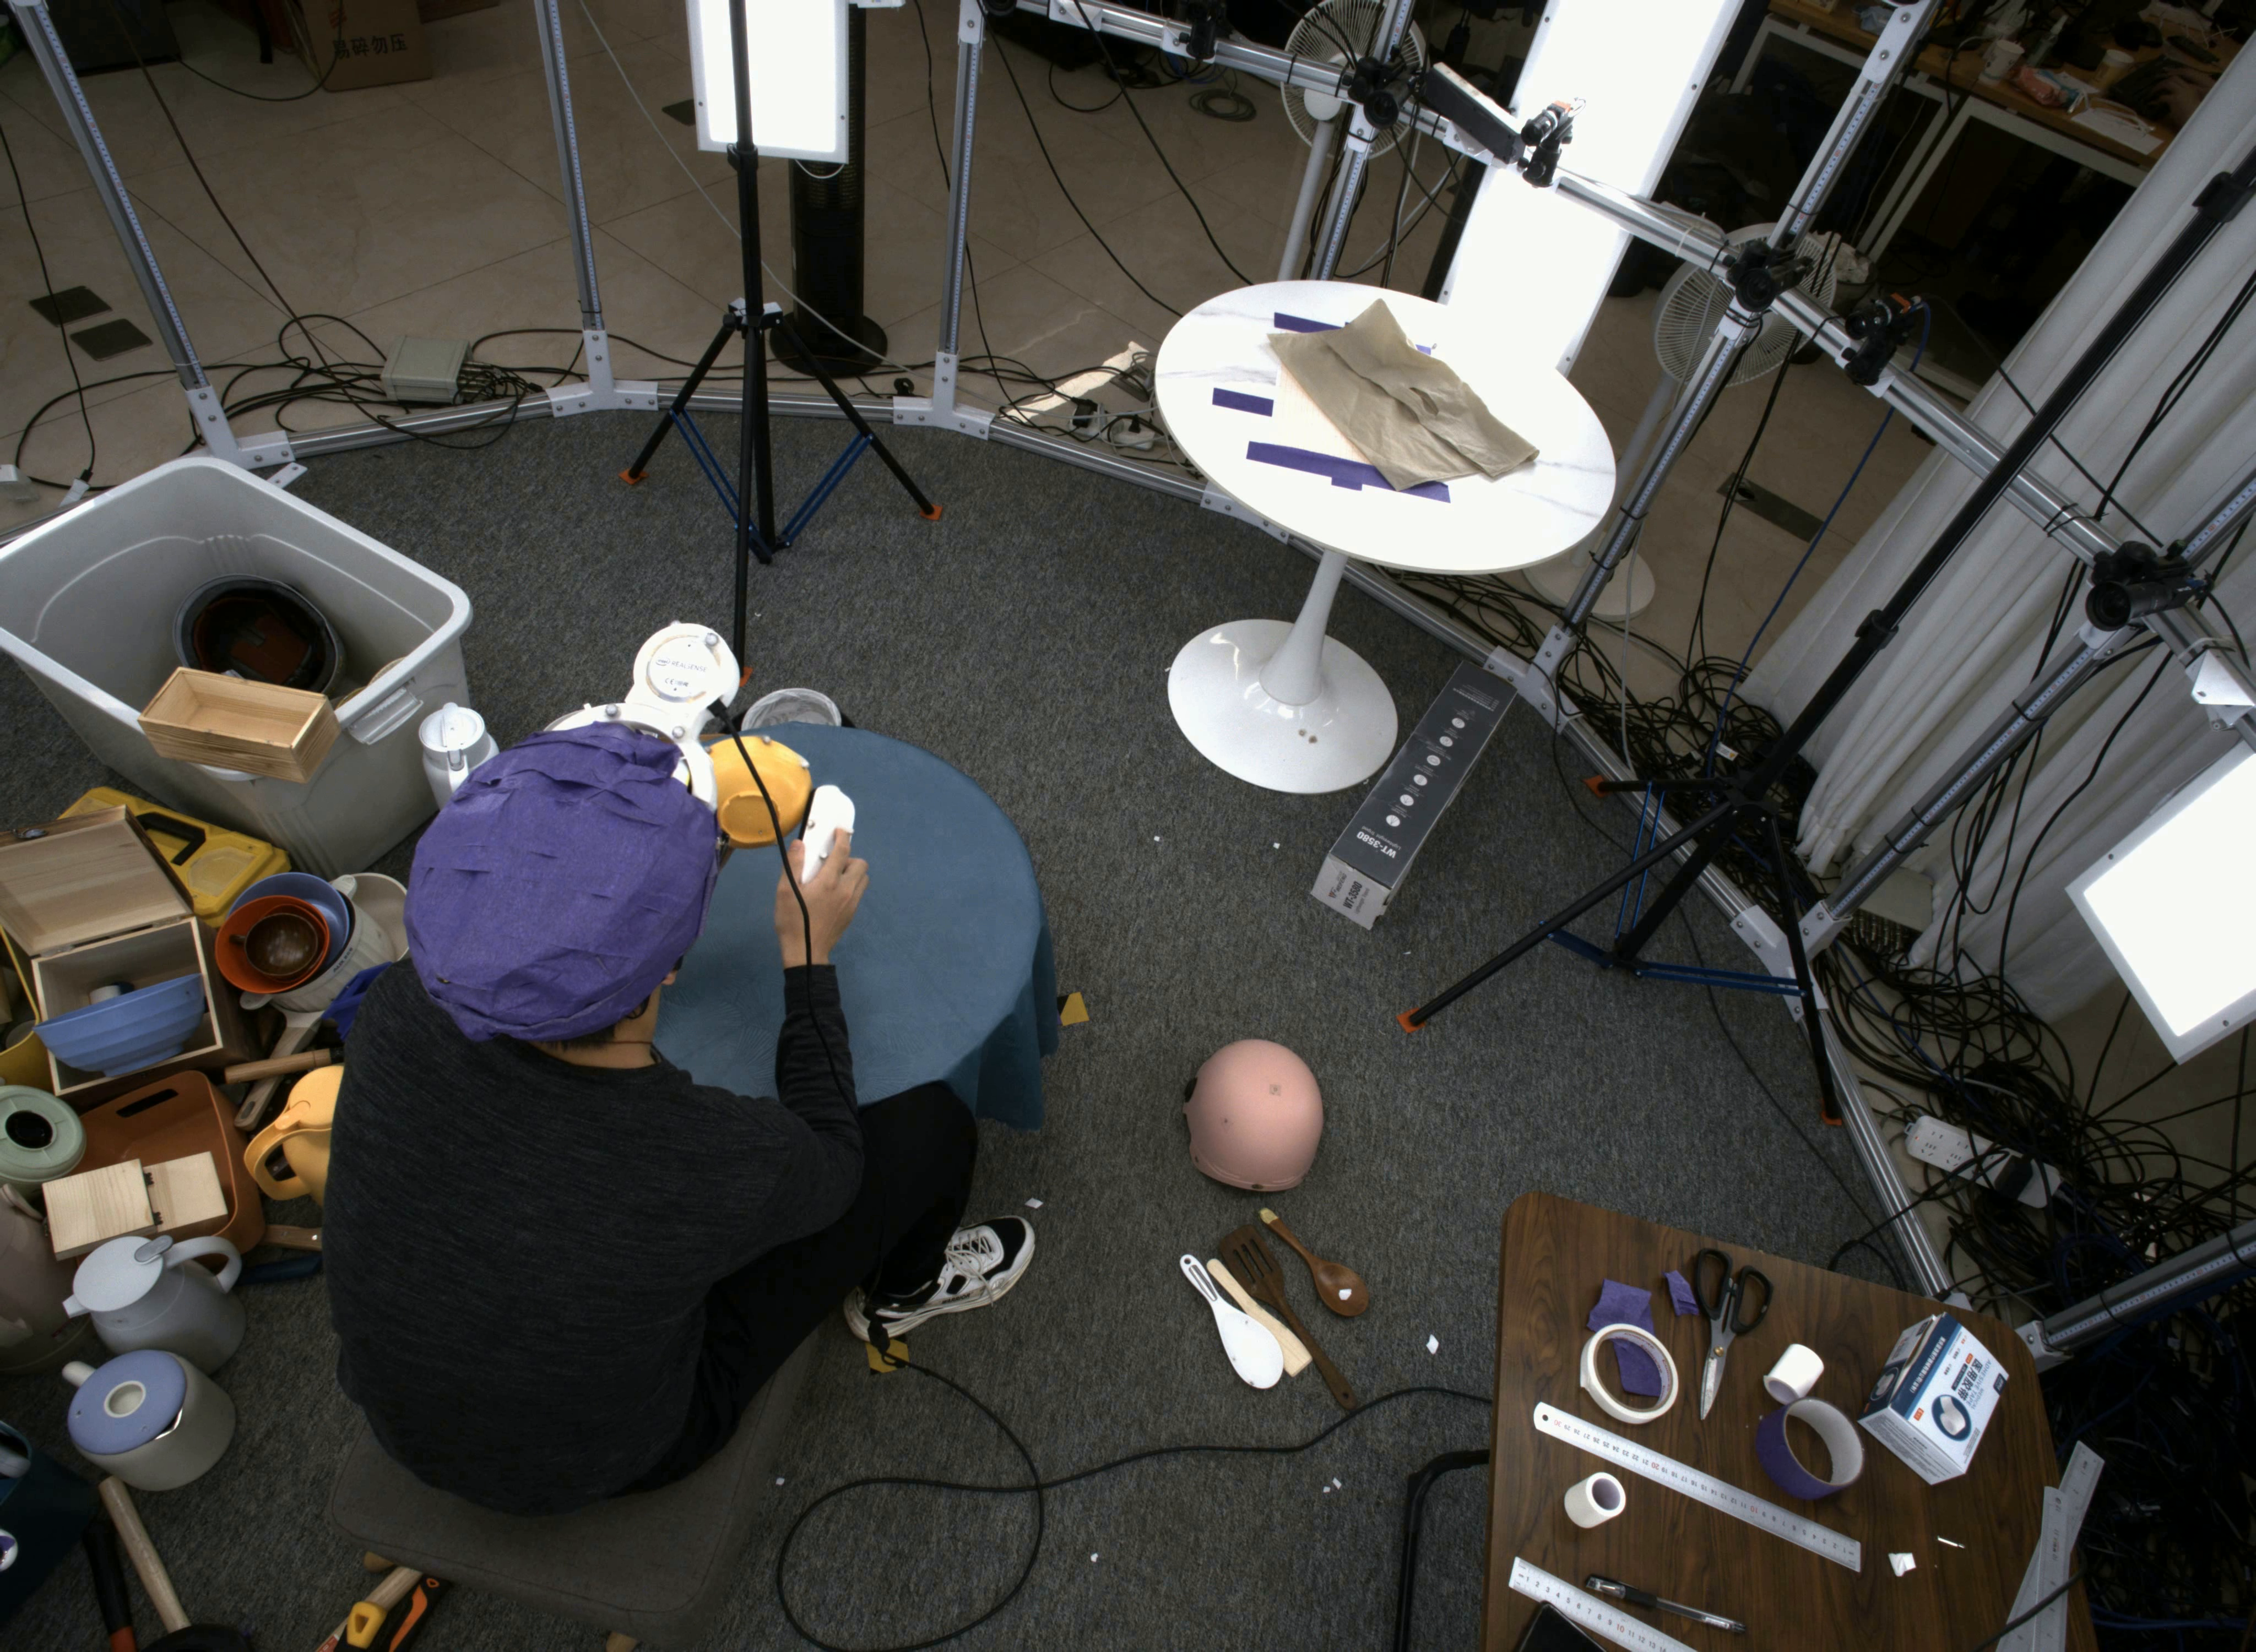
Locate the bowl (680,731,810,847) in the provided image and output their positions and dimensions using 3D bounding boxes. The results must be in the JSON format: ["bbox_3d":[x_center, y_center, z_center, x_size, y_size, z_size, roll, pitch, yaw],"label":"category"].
[{"bbox_3d":[-0.425,-0.029,1.439,0.146,0.149,0.058,-6,38,-18],"label":"bowl"}]

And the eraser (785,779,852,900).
[{"bbox_3d":[-0.348,0.013,1.465,0.033,0.065,0.130,-3,65,24],"label":"eraser"}]
